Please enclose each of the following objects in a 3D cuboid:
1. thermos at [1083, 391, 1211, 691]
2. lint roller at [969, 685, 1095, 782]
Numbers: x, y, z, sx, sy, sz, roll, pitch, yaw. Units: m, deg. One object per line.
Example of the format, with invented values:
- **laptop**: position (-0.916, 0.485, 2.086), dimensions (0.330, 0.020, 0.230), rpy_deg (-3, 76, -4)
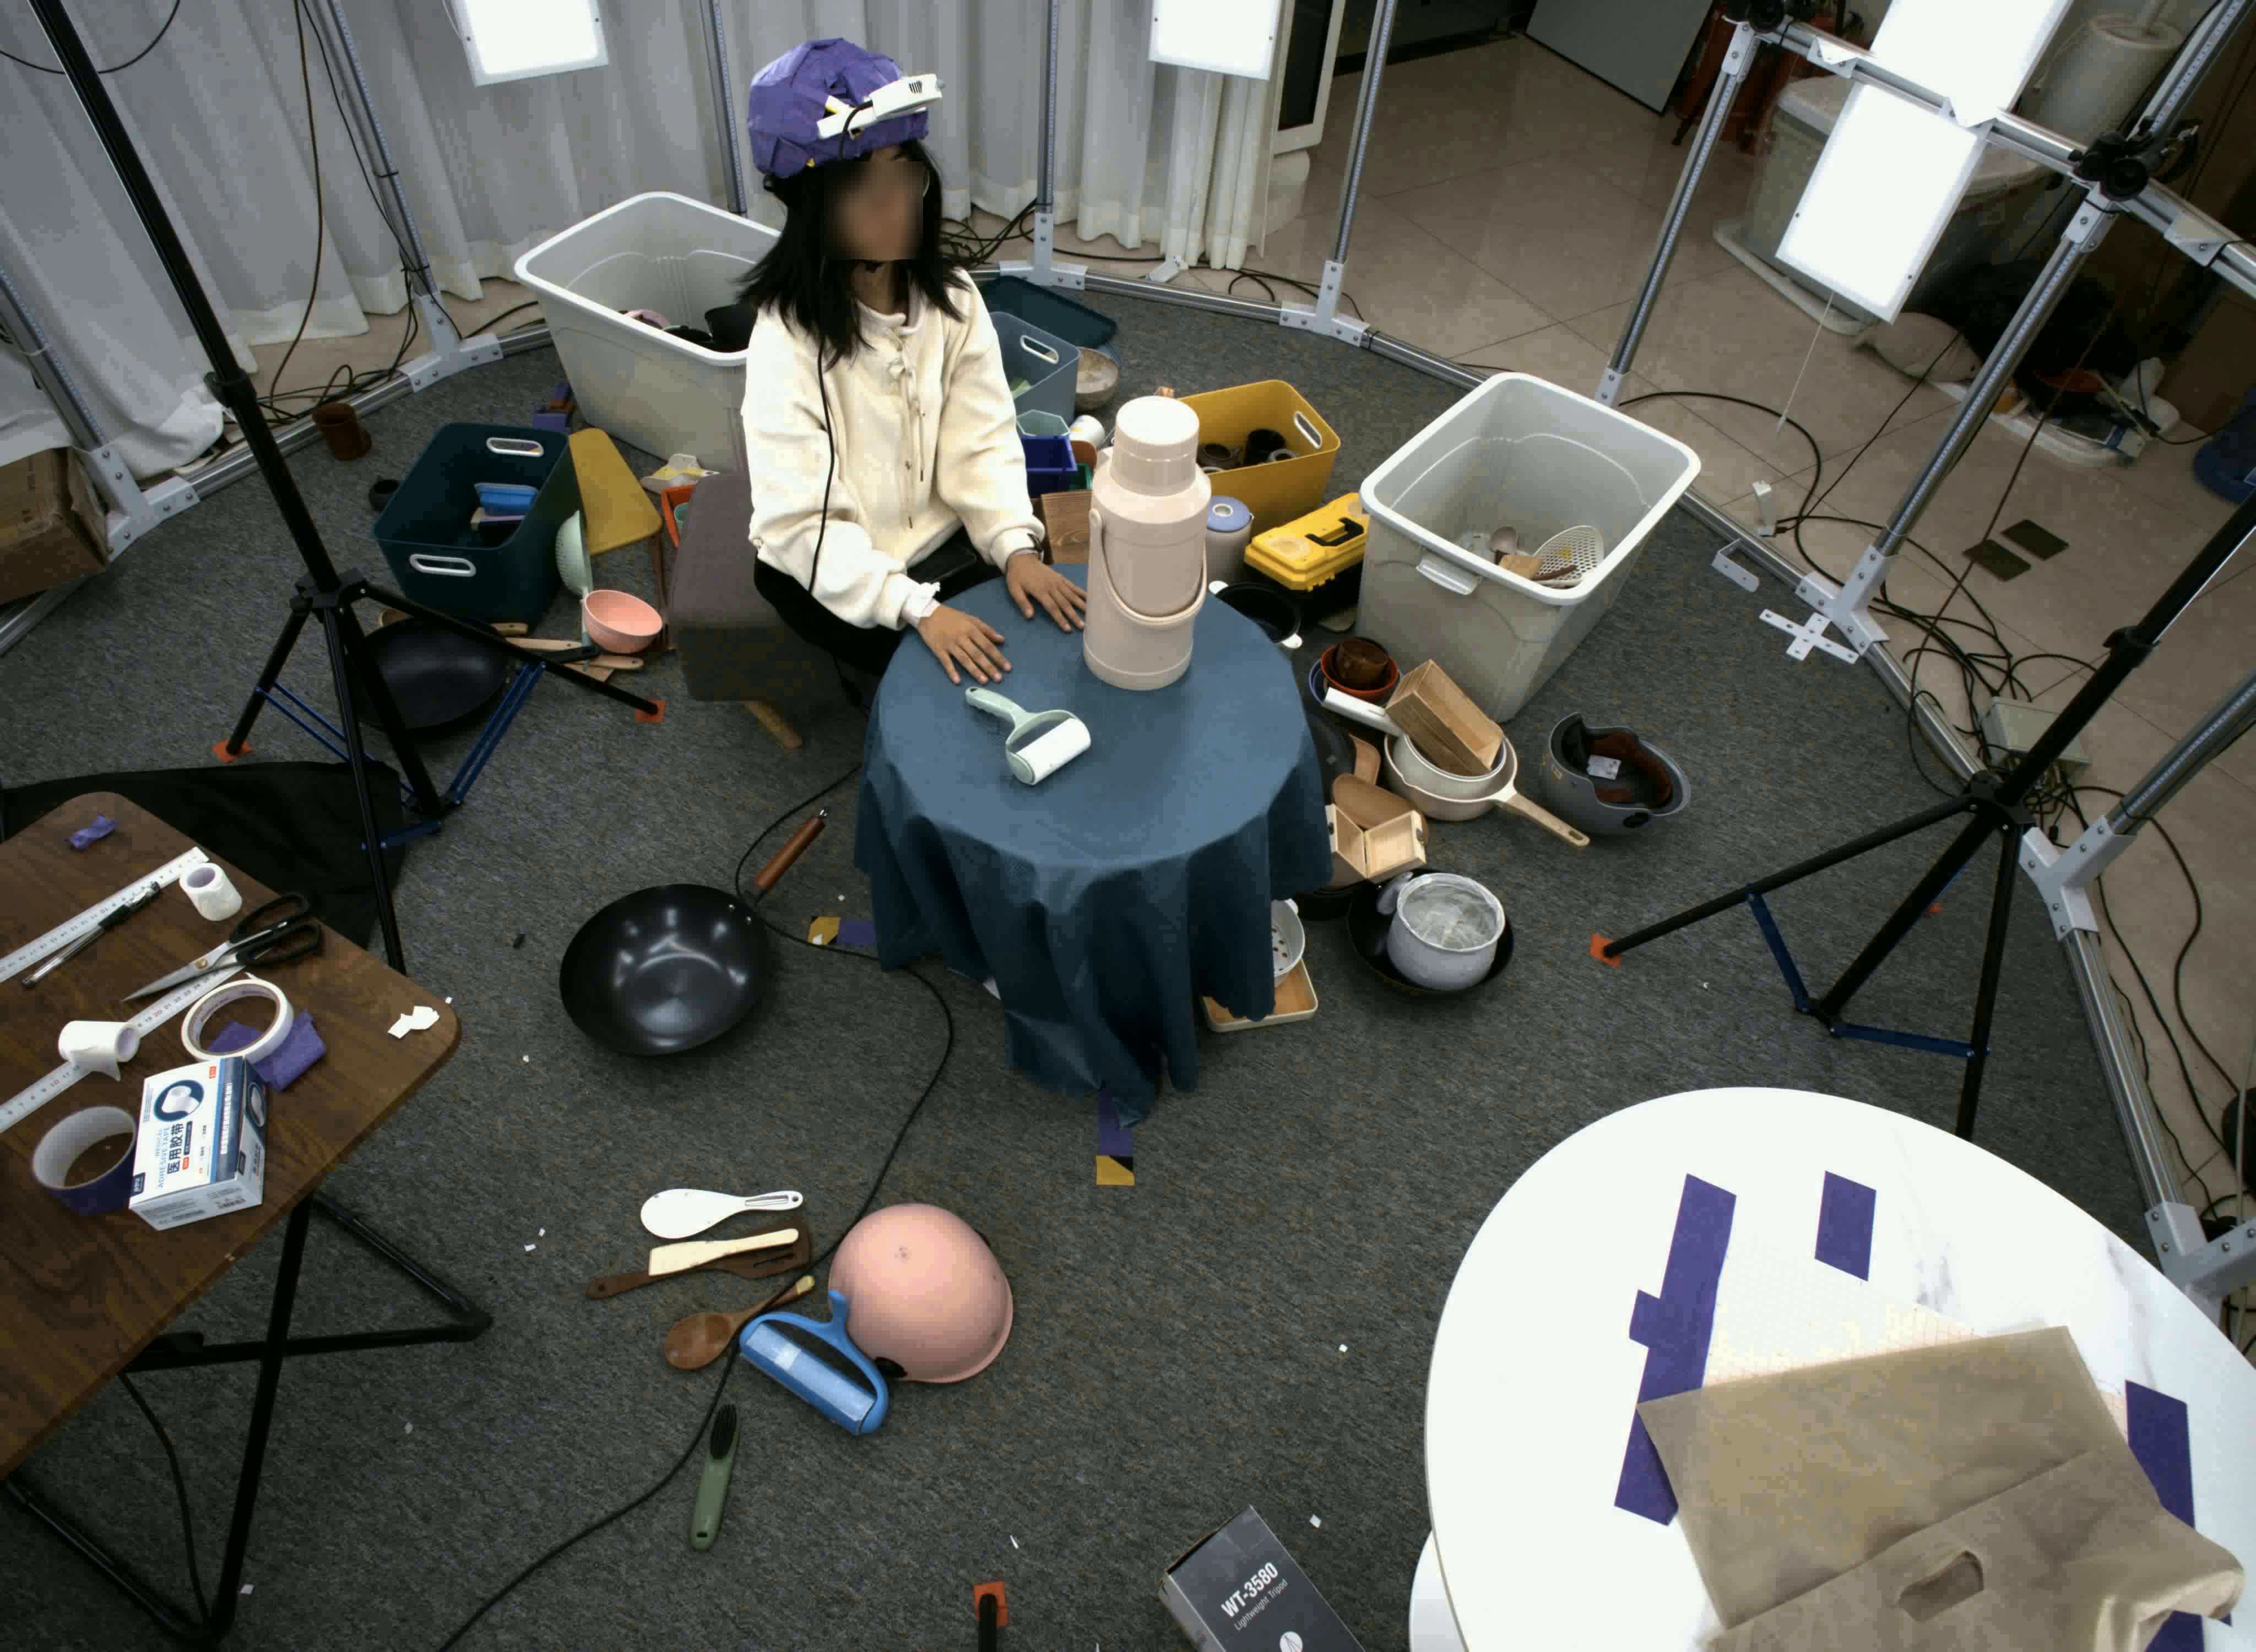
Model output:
- **thermos**: position (0.019, -0.390, 1.754), dimensions (0.176, 0.396, 0.211), rpy_deg (-23, 55, -22)
- **lint roller**: position (-0.147, -0.148, 1.758), dimensions (0.117, 0.047, 0.200), rpy_deg (-36, 61, -27)
